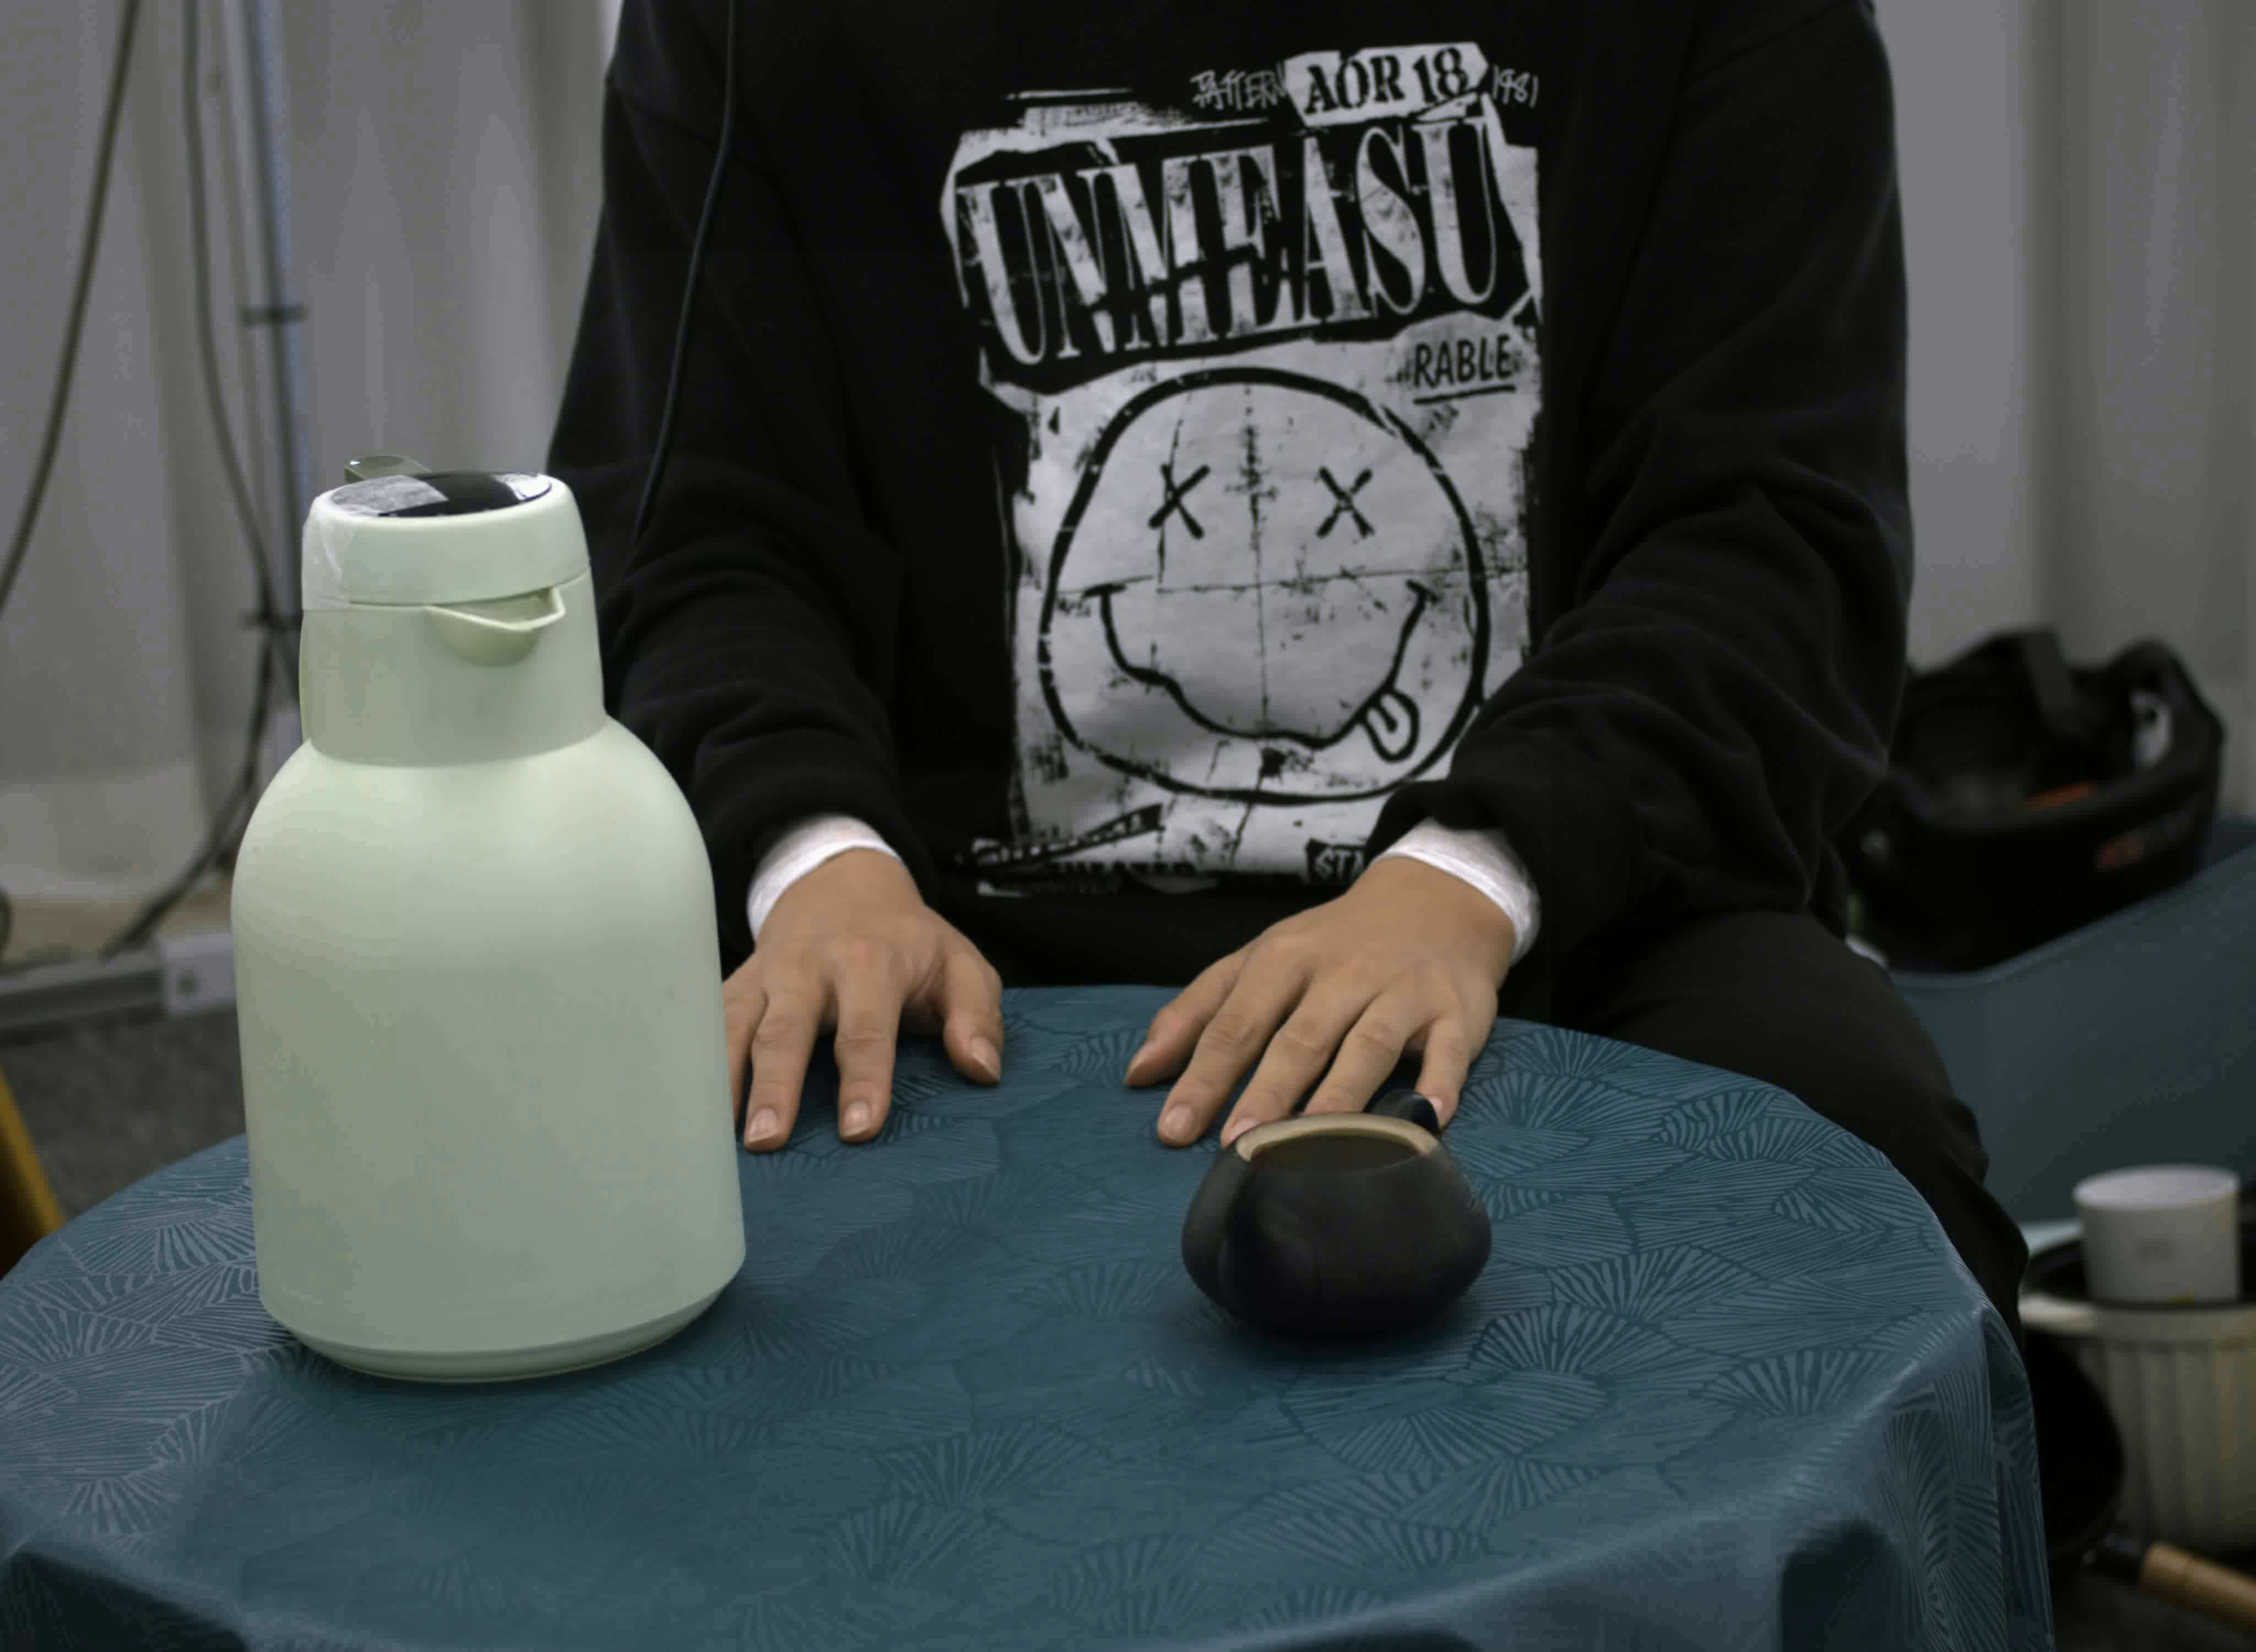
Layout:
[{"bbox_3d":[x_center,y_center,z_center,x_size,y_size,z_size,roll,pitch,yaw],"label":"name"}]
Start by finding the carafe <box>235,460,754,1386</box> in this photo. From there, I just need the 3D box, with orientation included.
[{"bbox_3d":[-0.197,0.022,1.617,0.143,0.256,0.188,-11,12,-25],"label":"carafe"}]

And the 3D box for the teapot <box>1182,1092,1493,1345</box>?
[{"bbox_3d":[0.061,0.117,1.590,0.091,0.053,0.133,7,18,27],"label":"teapot"}]
